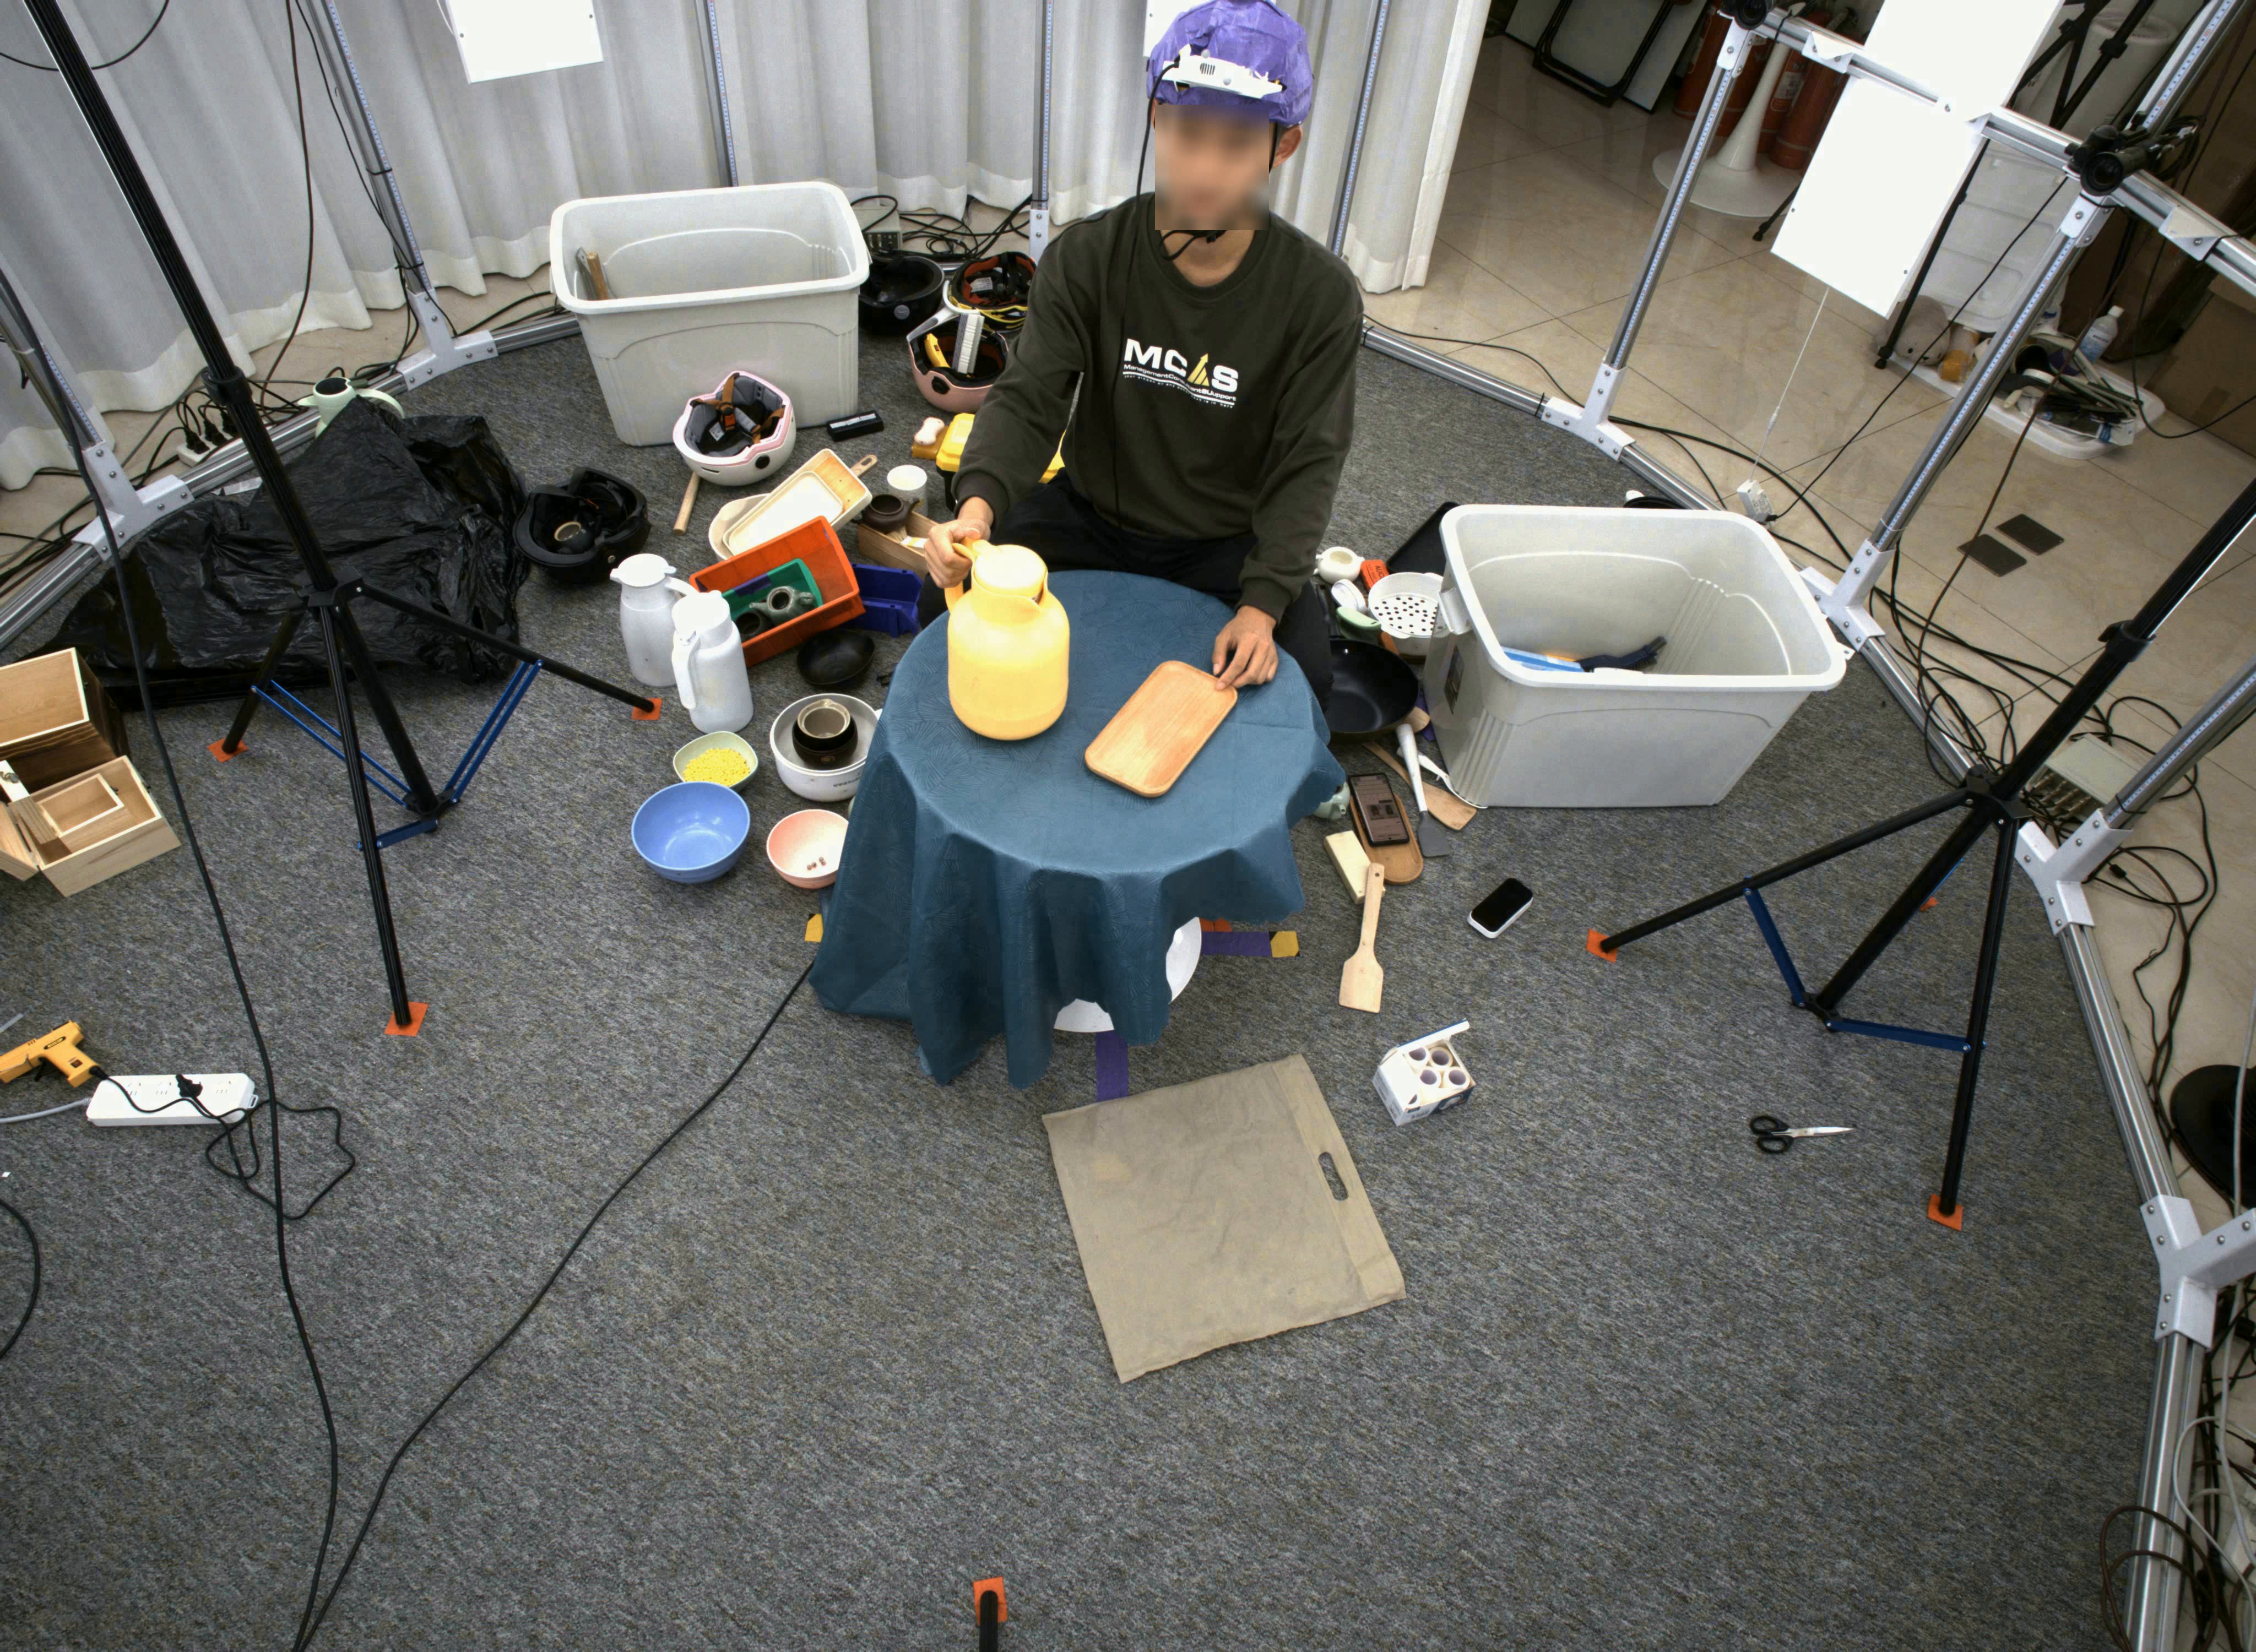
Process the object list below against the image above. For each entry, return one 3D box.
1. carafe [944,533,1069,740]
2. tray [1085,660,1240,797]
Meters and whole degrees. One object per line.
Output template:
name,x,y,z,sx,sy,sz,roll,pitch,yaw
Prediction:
carafe,-0.171,-0.261,1.709,0.164,0.254,0.206,-29,59,-30
tray,0.050,-0.138,1.777,0.131,0.022,0.254,28,52,16
